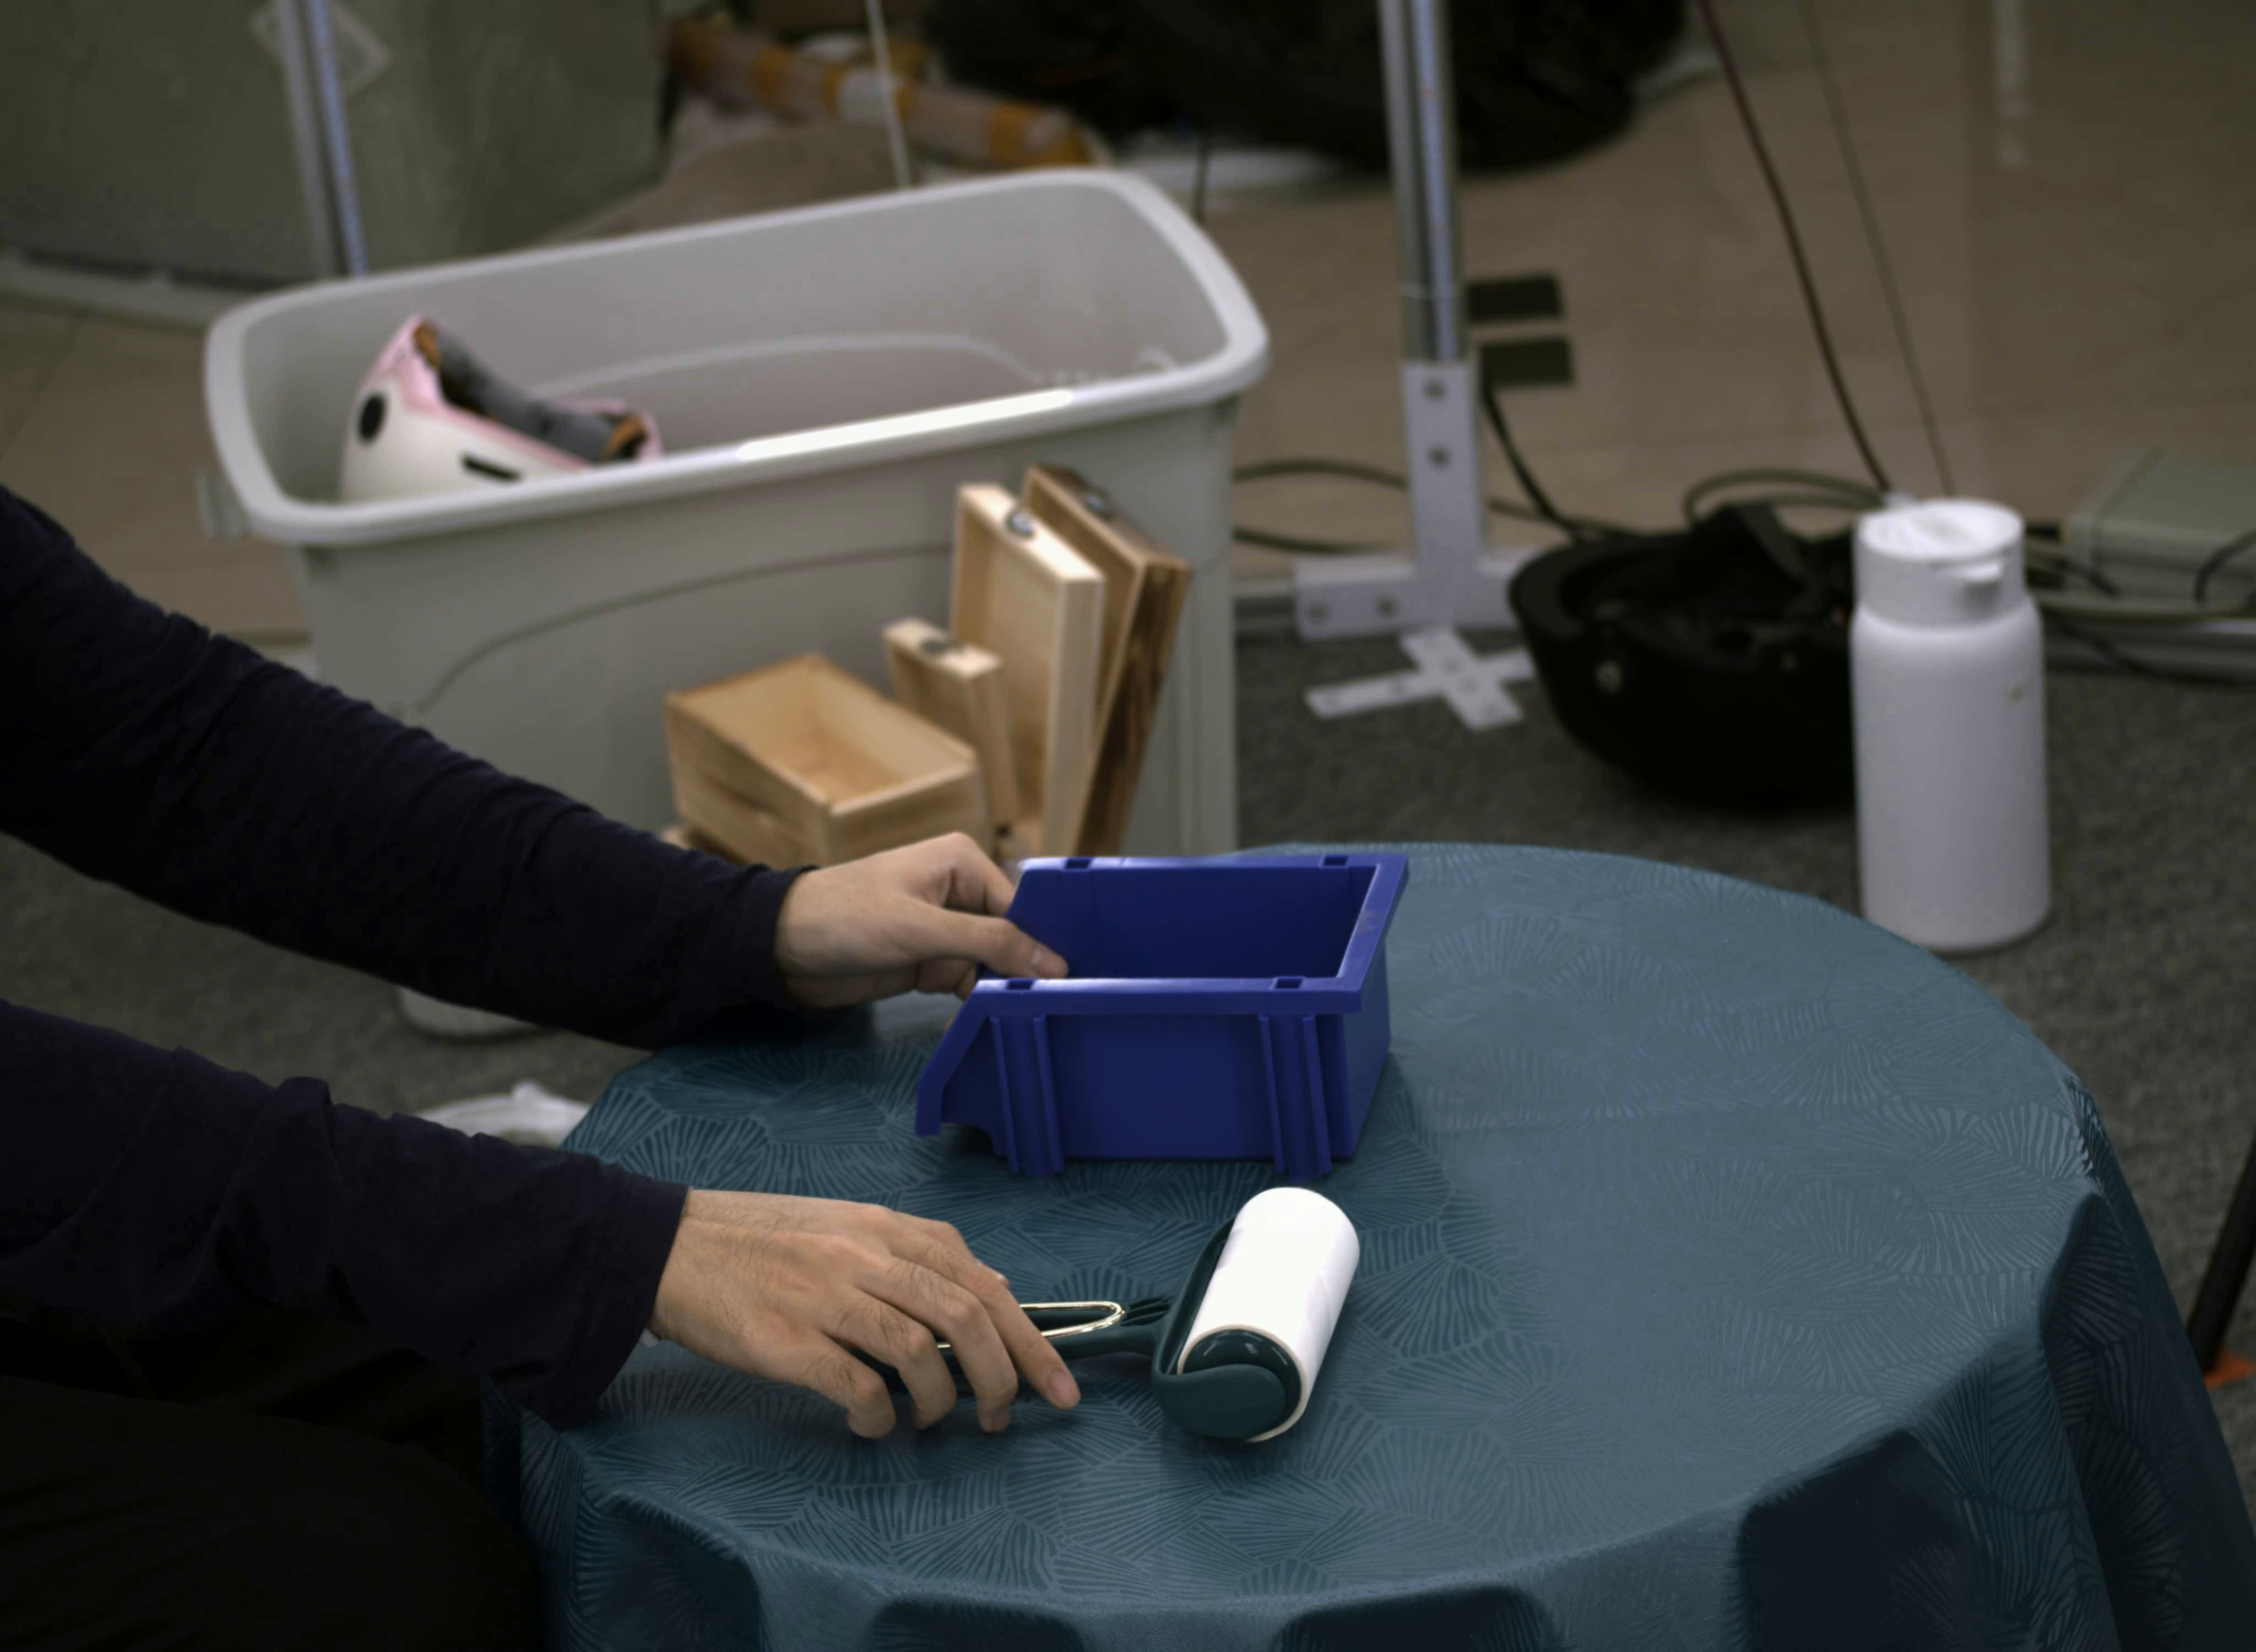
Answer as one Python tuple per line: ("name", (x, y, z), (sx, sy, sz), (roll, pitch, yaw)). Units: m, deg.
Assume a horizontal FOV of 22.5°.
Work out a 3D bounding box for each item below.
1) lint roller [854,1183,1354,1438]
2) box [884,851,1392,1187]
("lint roller", (-0.015, 0.176, 2.027), (0.180, 0.049, 0.132), (-3, 24, 14))
("box", (0.005, 0.073, 2.194), (0.179, 0.083, 0.122), (3, 27, 13))
